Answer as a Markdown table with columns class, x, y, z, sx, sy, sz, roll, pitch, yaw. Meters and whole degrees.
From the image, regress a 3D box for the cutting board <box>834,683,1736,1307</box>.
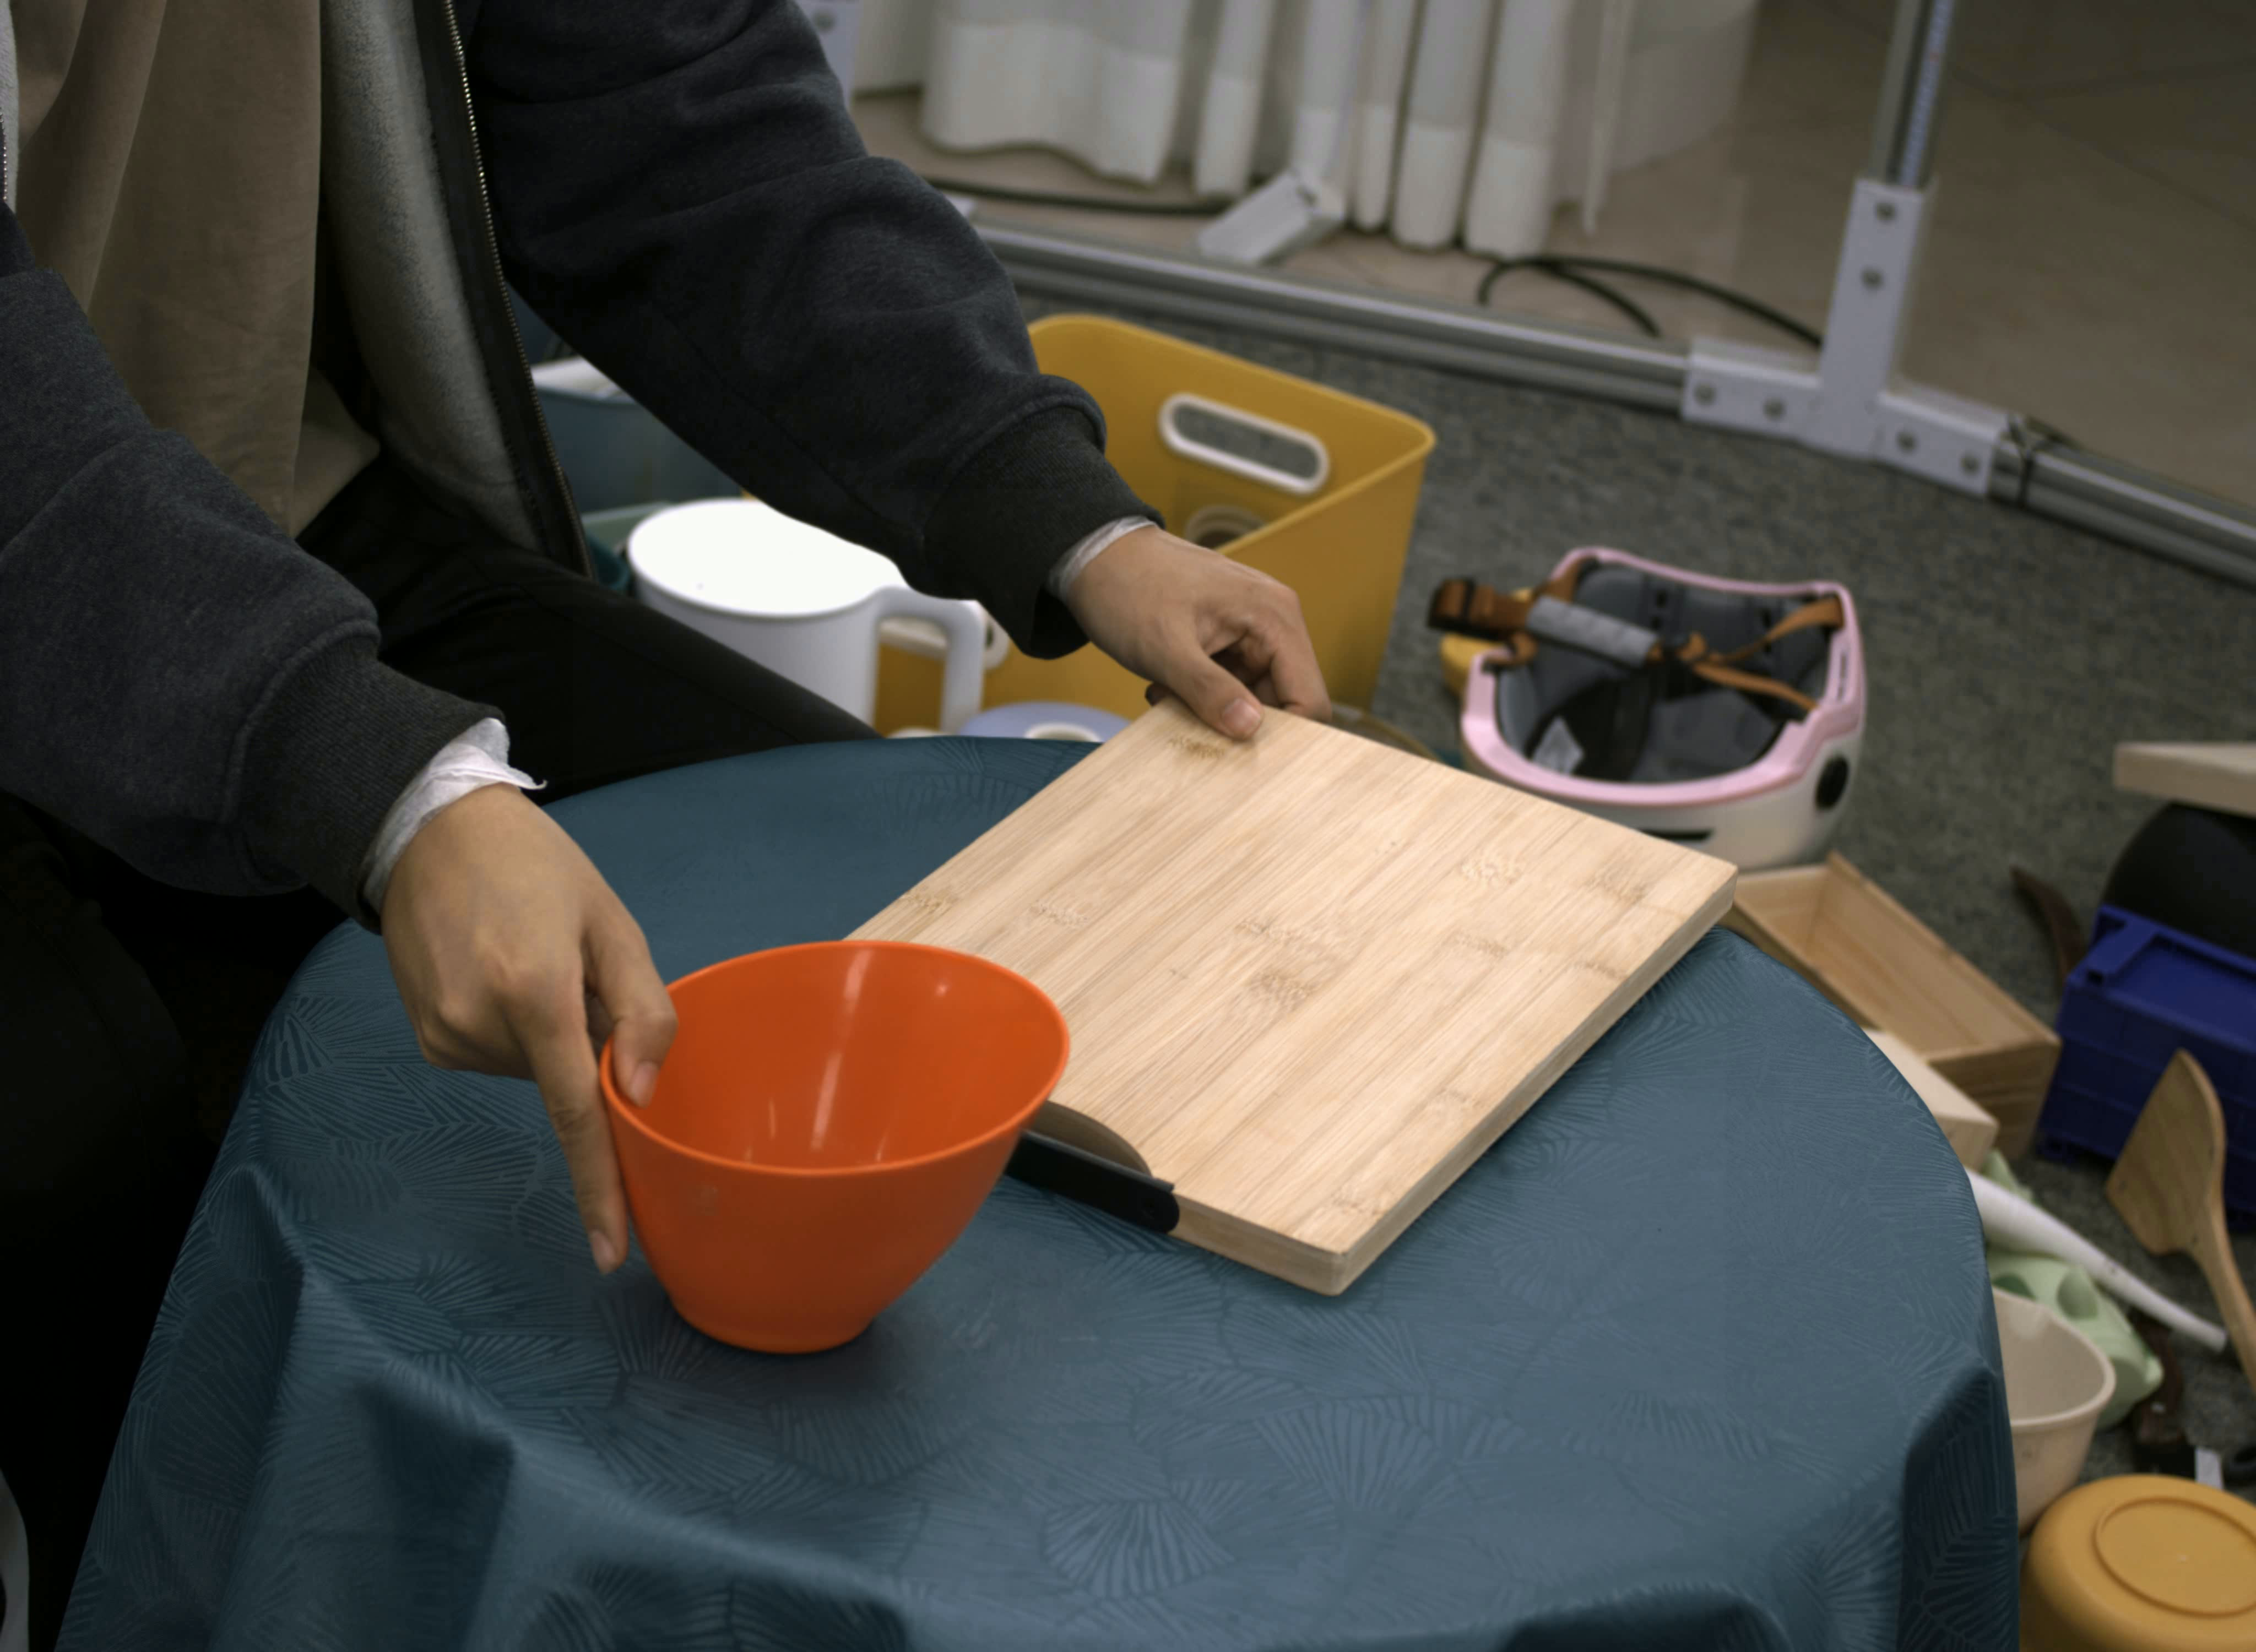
| class | x | y | z | sx | sy | sz | roll | pitch | yaw |
| --- | --- | --- | --- | --- | --- | --- | --- | --- | --- |
| cutting board | 0.043 | 0.052 | 1.926 | 0.252 | 0.023 | 0.348 | 18 | 30 | 23 |

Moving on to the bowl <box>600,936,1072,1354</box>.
| class | x | y | z | sx | sy | sz | roll | pitch | yaw |
| --- | --- | --- | --- | --- | --- | --- | --- | --- | --- |
| bowl | -0.098 | 0.108 | 1.695 | 0.147 | 0.104 | 0.149 | 8 | 27 | -4 |
